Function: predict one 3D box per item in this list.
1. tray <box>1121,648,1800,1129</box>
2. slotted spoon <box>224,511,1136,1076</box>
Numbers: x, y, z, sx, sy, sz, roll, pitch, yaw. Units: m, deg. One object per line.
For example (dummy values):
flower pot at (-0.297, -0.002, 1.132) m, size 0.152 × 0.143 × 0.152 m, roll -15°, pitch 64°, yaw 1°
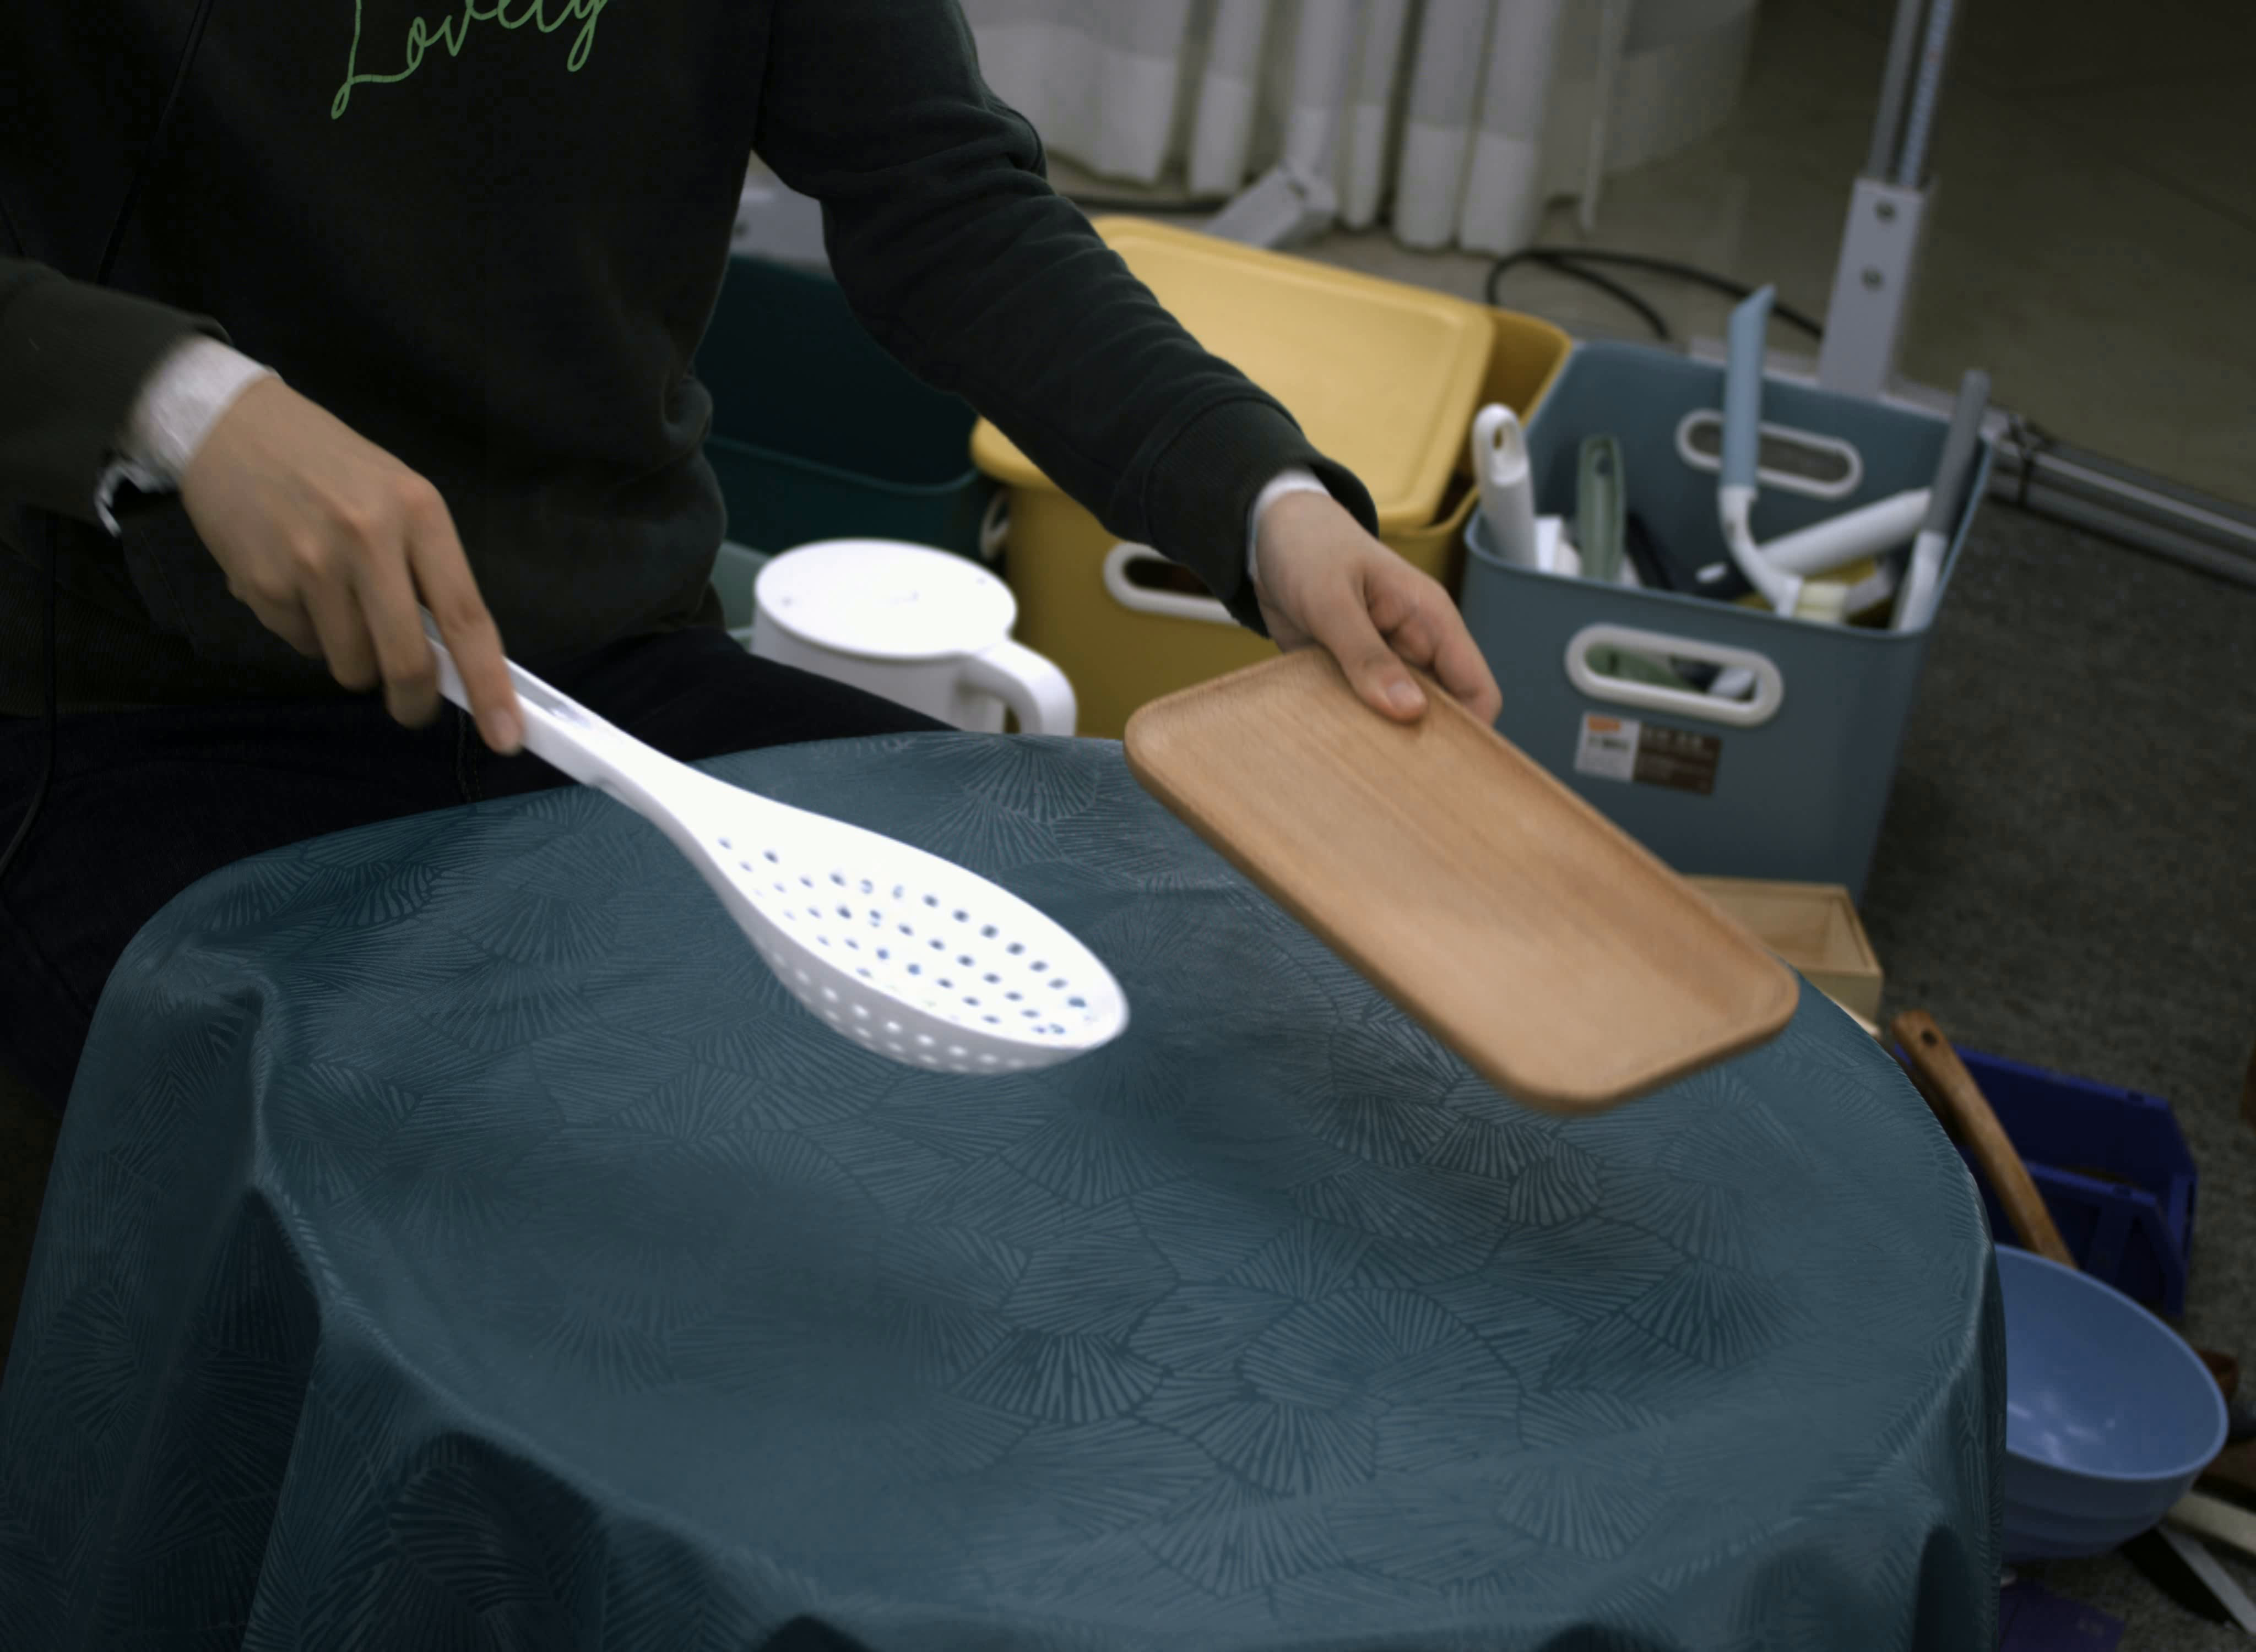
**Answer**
tray at (0.111, 0.019, 1.826) m, size 0.130 × 0.023 × 0.253 m, roll -17°, pitch 41°, yaw -34°
slotted spoon at (-0.151, -0.013, 1.704) m, size 0.351 × 0.046 × 0.135 m, roll 35°, pitch 19°, yaw 17°
